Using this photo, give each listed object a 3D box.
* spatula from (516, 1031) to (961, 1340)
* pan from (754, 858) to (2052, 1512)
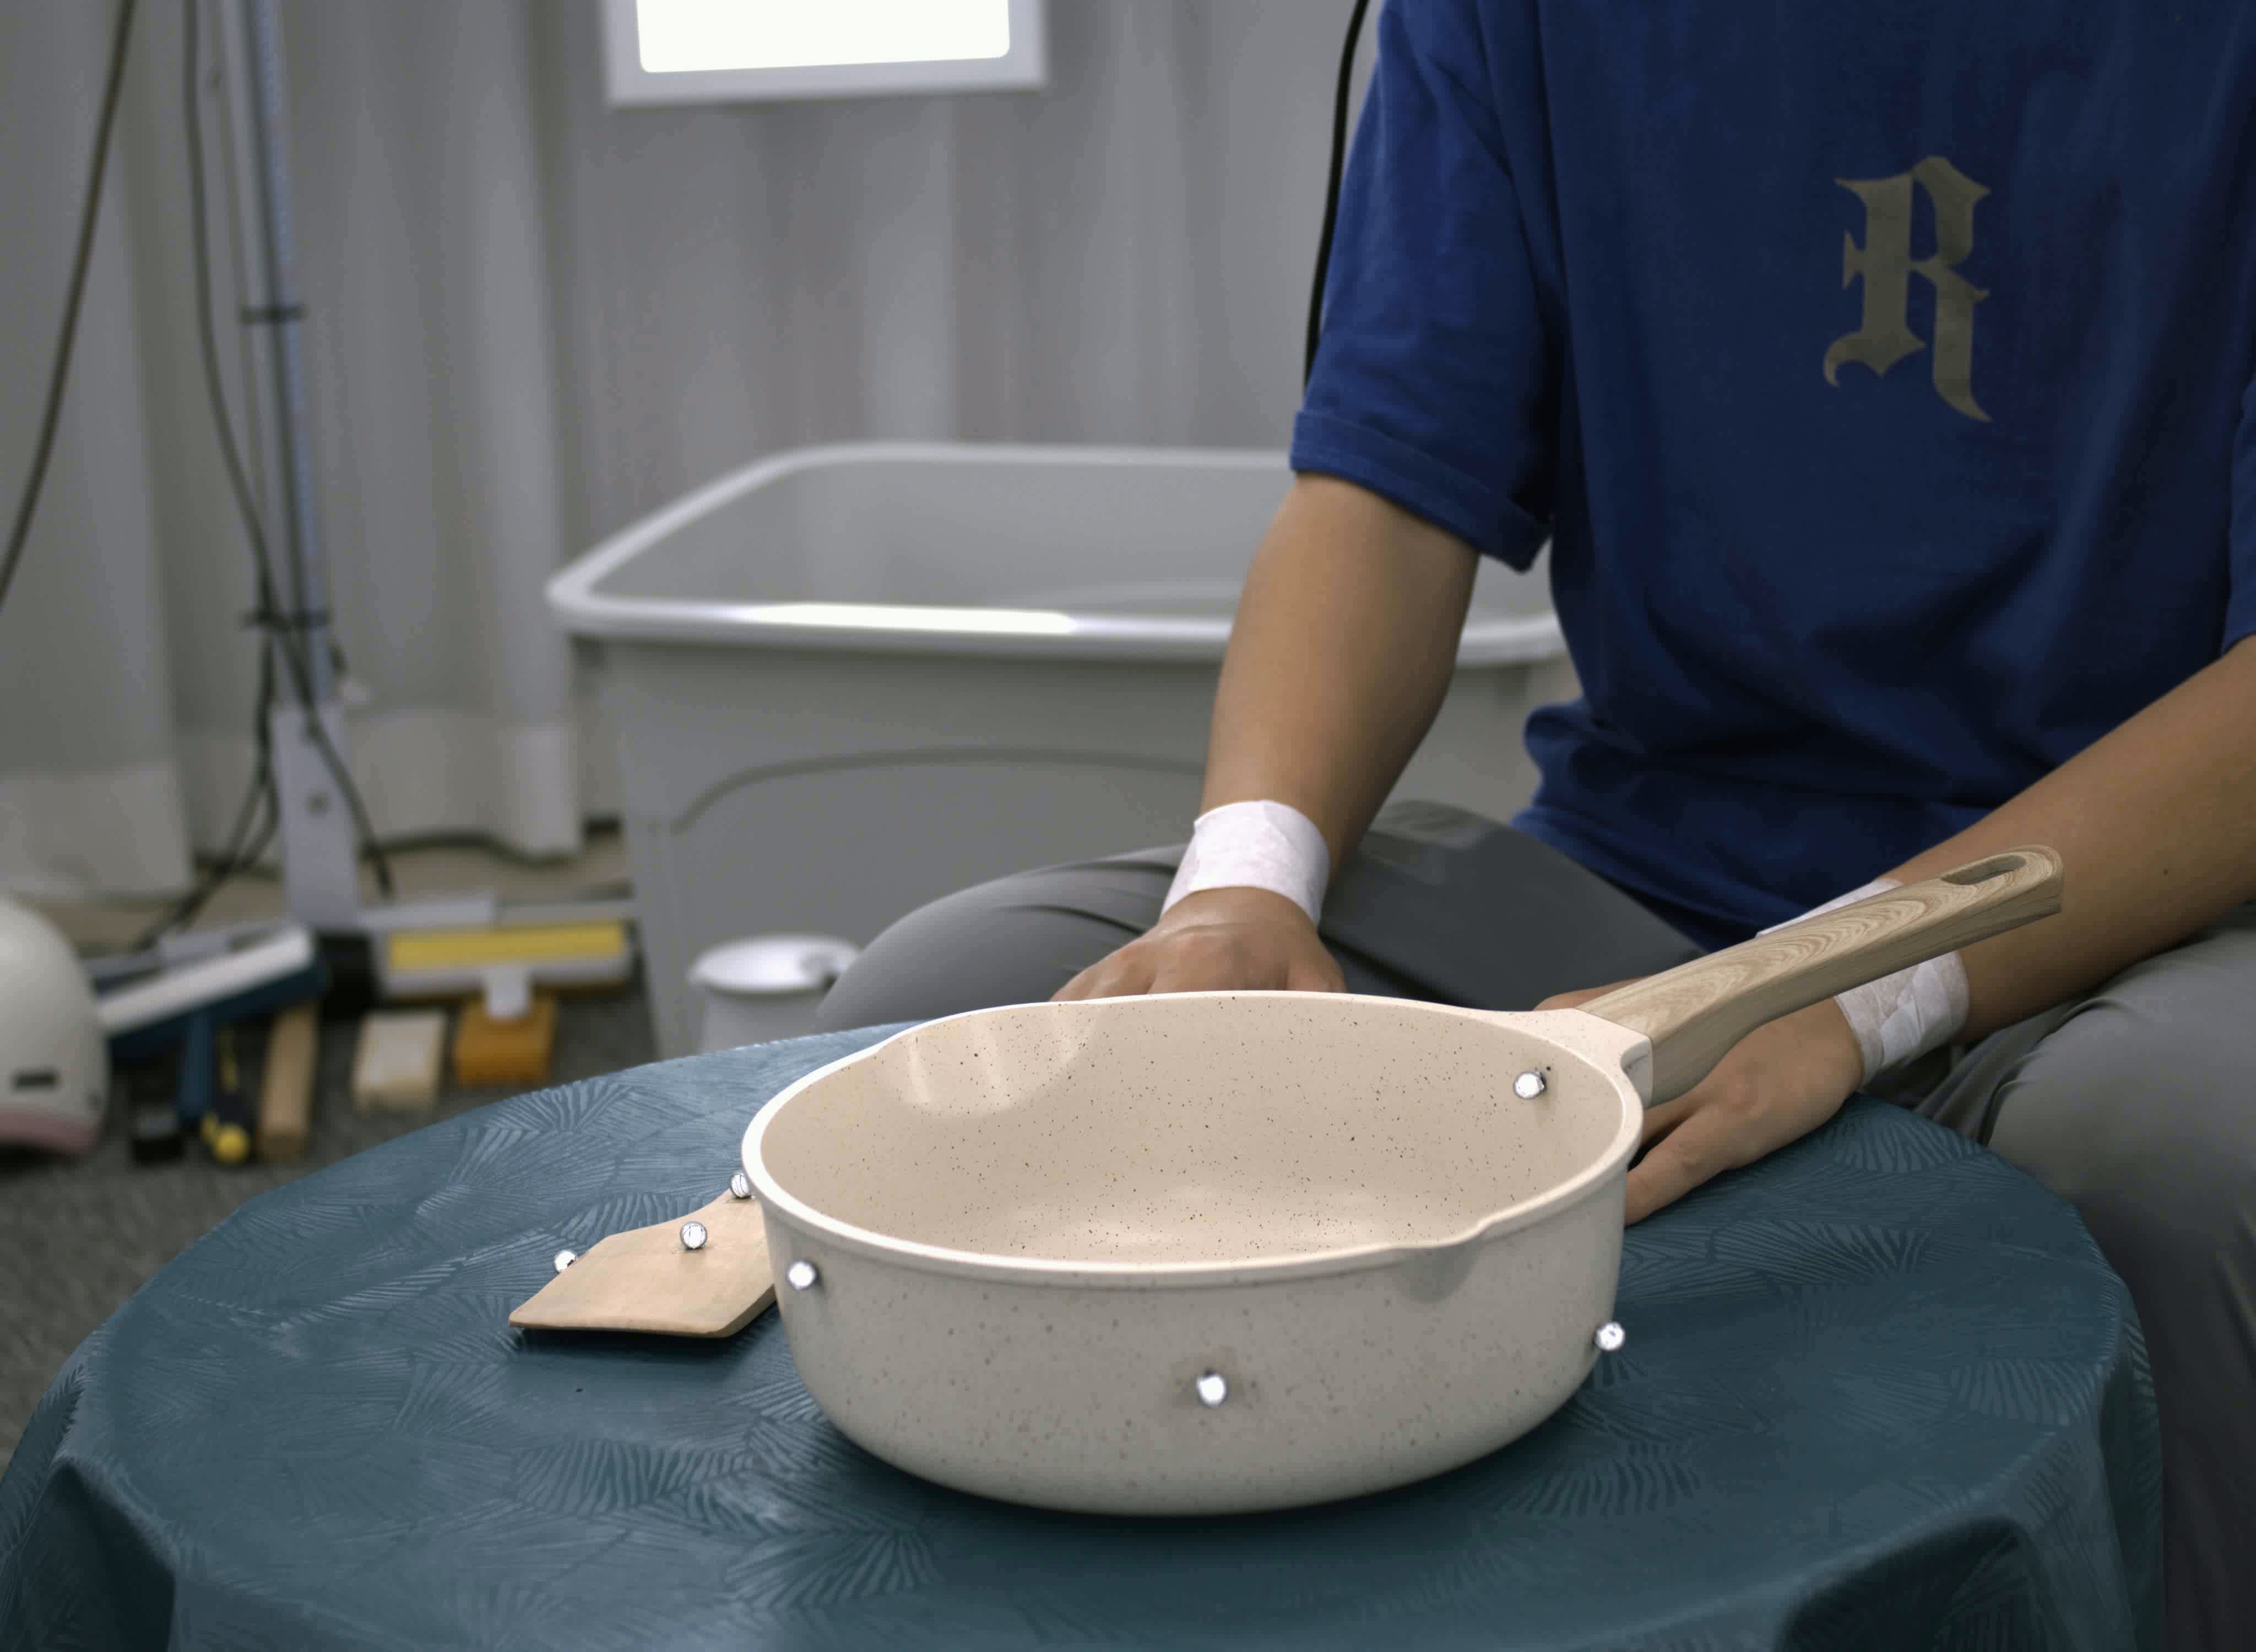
[{"bbox_3d":[-0.109,0.111,1.727,0.072,0.010,0.294,0,15,16],"label":"spatula"},{"bbox_3d":[0.100,0.097,1.566,0.433,0.101,0.265,-11,15,-31],"label":"pan"}]
